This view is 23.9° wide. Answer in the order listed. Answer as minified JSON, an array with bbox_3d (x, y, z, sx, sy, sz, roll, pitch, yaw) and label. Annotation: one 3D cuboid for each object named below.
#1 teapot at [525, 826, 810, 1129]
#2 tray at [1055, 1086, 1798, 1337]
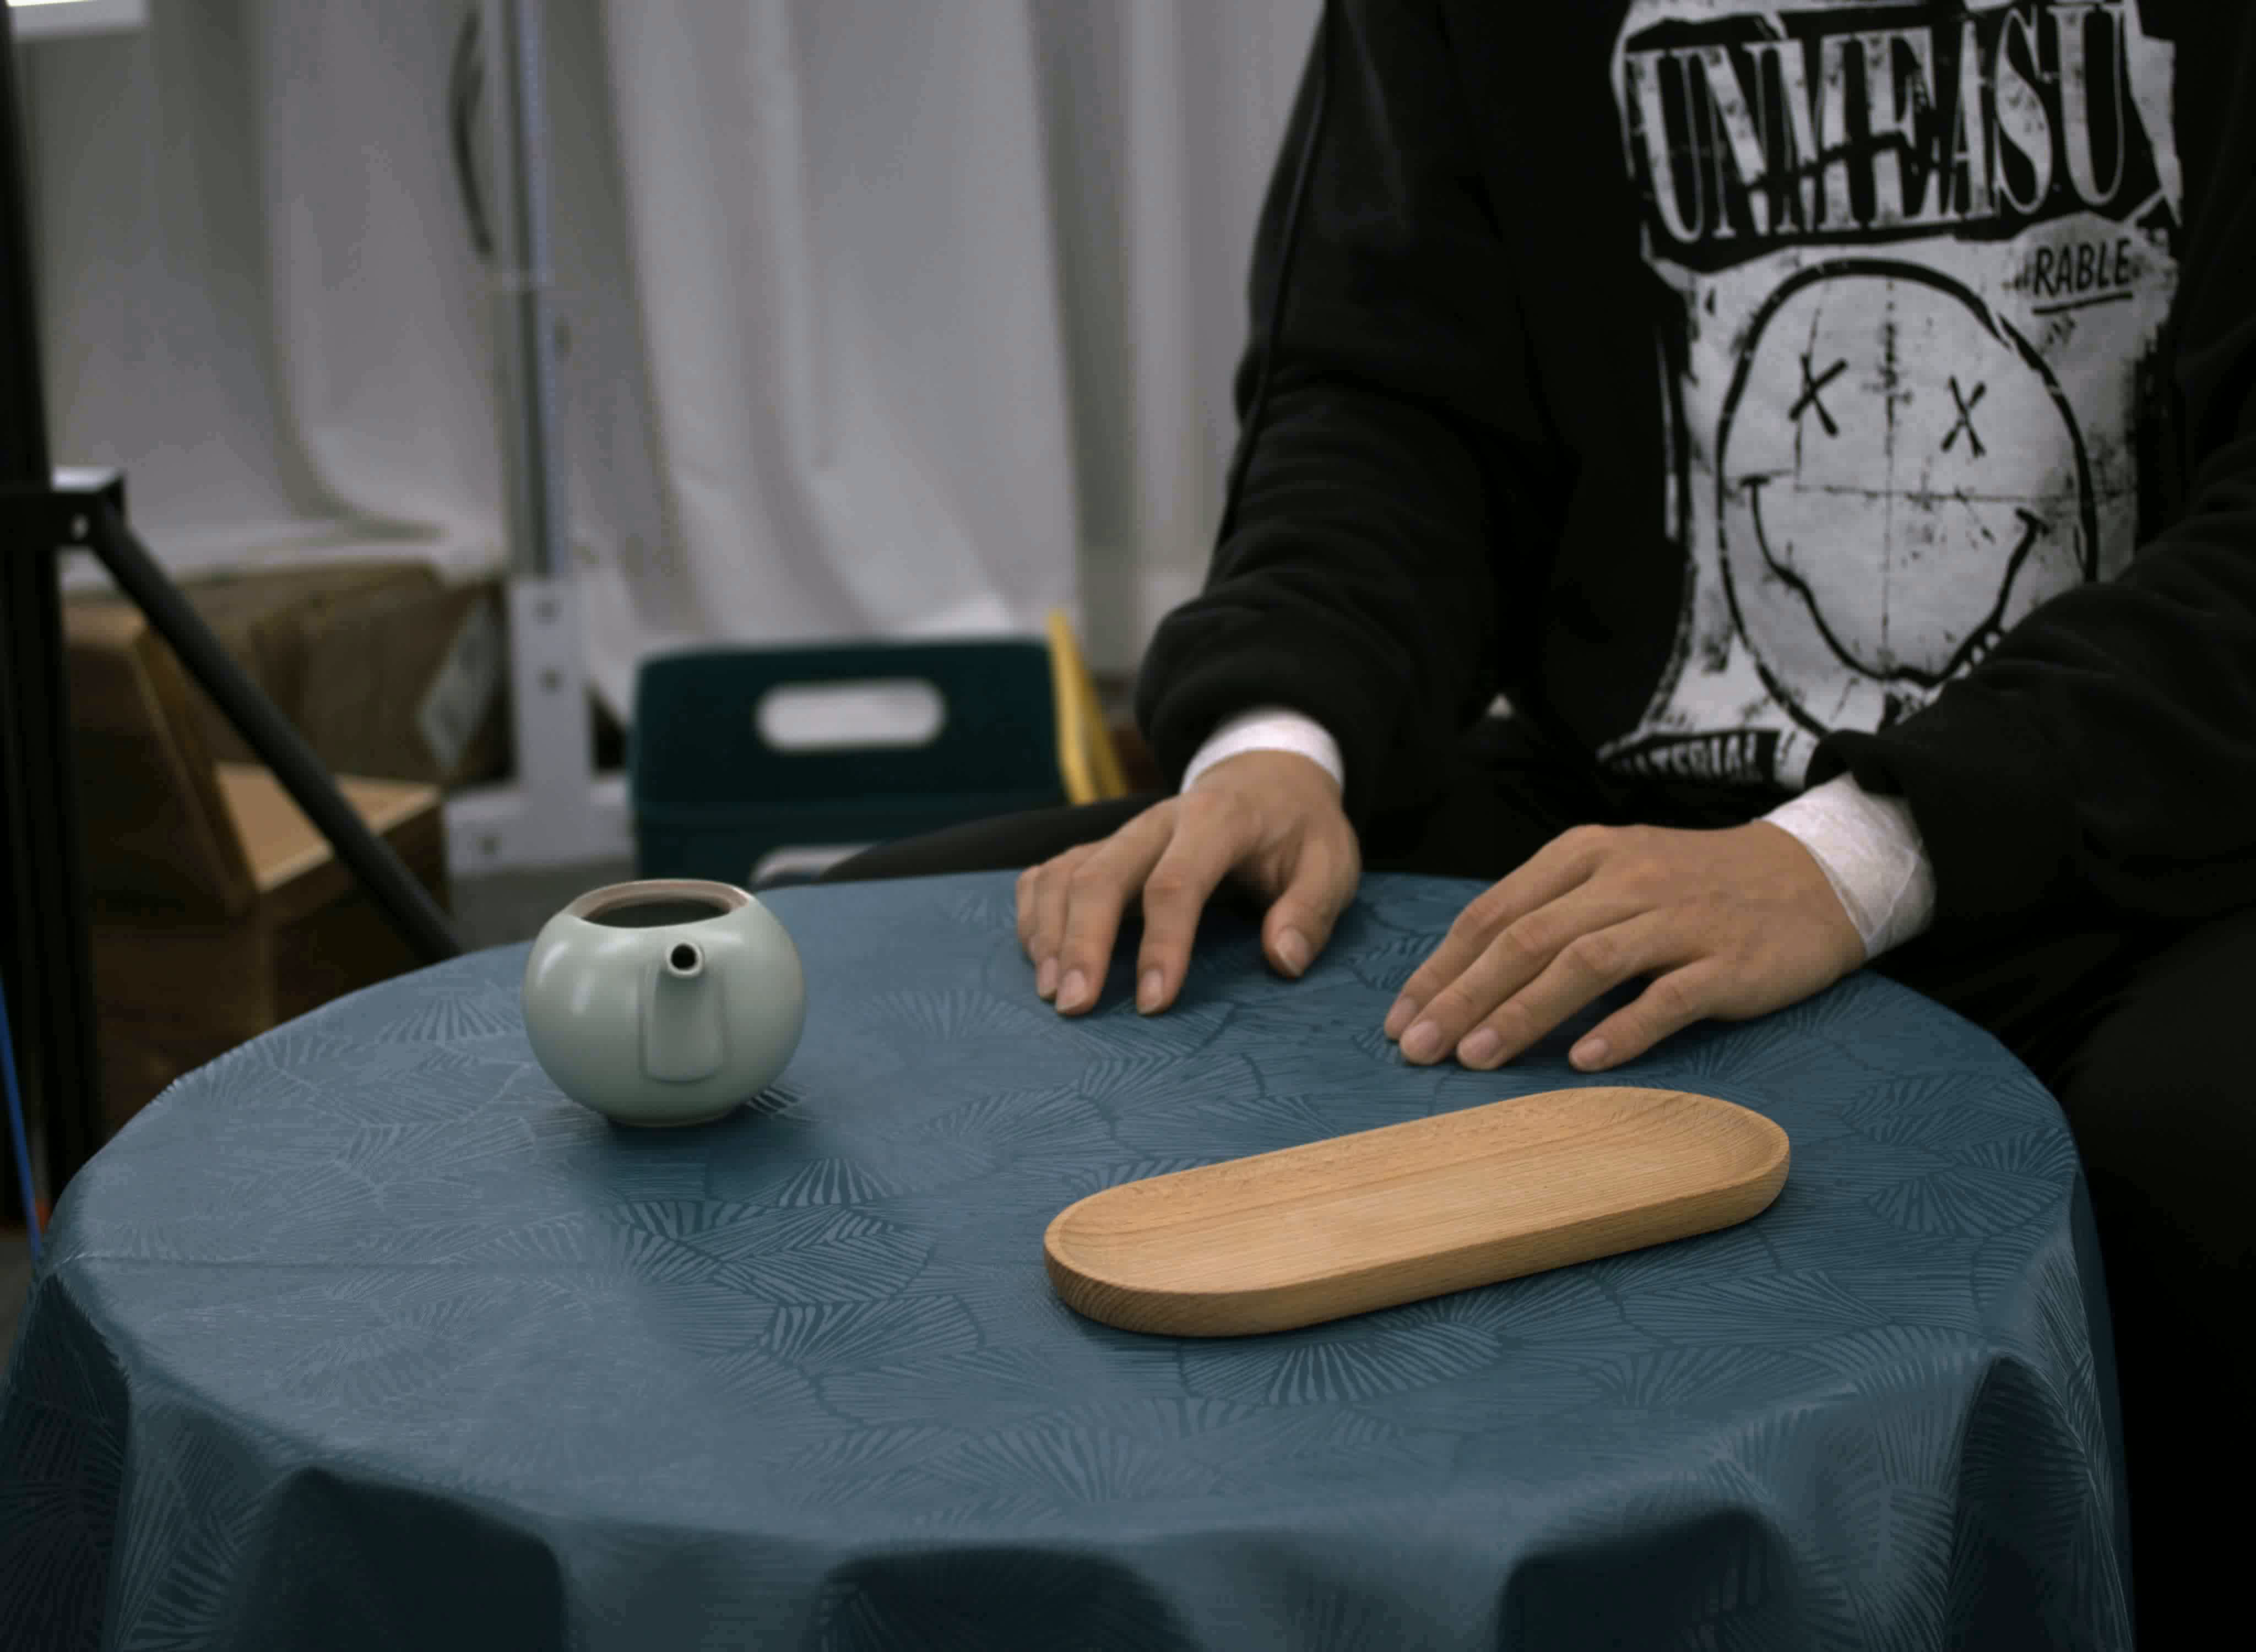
[{"bbox_3d":[-0.142,0.052,1.643,0.087,0.075,0.145,-3,17,-8],"label":"teapot"},{"bbox_3d":[0.087,0.109,1.508,0.226,0.020,0.104,-9,18,-26],"label":"tray"}]
